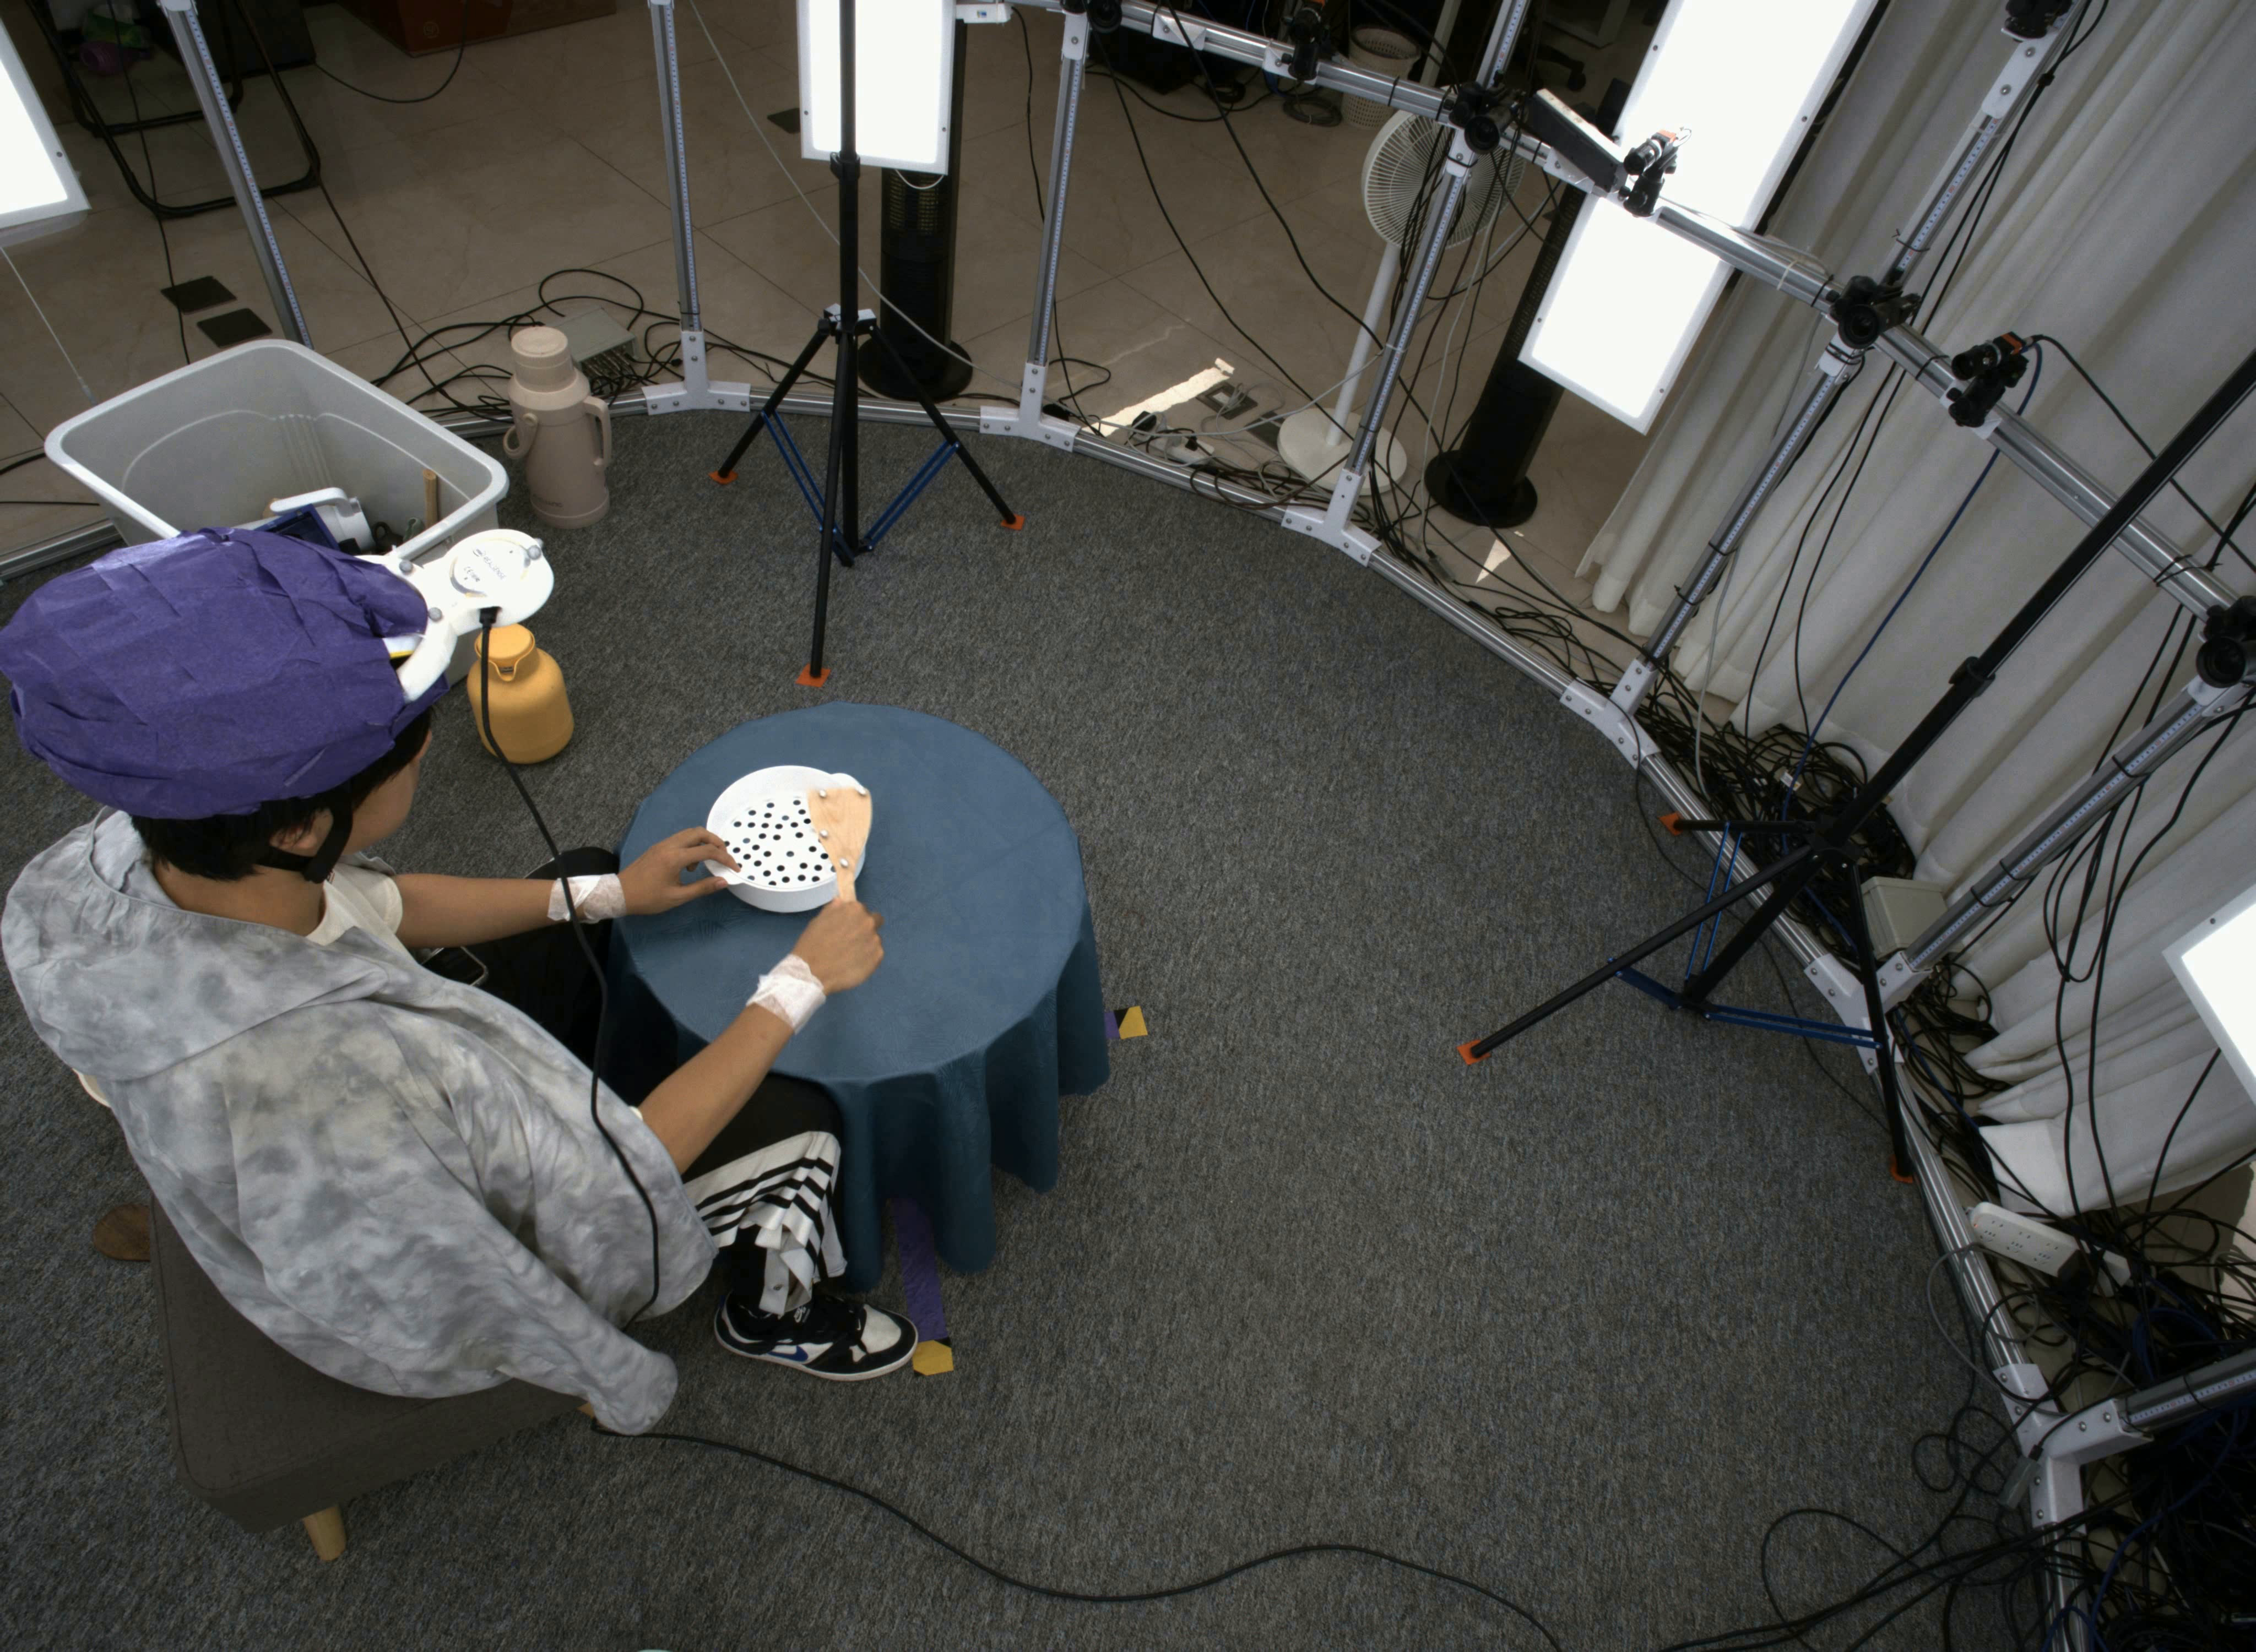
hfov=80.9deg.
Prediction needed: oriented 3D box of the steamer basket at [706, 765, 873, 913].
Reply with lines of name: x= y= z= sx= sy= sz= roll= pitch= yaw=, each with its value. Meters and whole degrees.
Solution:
steamer basket: x=-0.431 y=0.017 z=1.670 sx=0.231 sy=0.071 sz=0.197 roll=-35 pitch=67 yaw=-31

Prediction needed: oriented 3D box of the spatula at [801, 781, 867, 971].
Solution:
spatula: x=-0.335 y=0.049 z=1.517 sx=0.080 sy=0.017 sz=0.318 roll=3 pitch=39 yaw=-20
